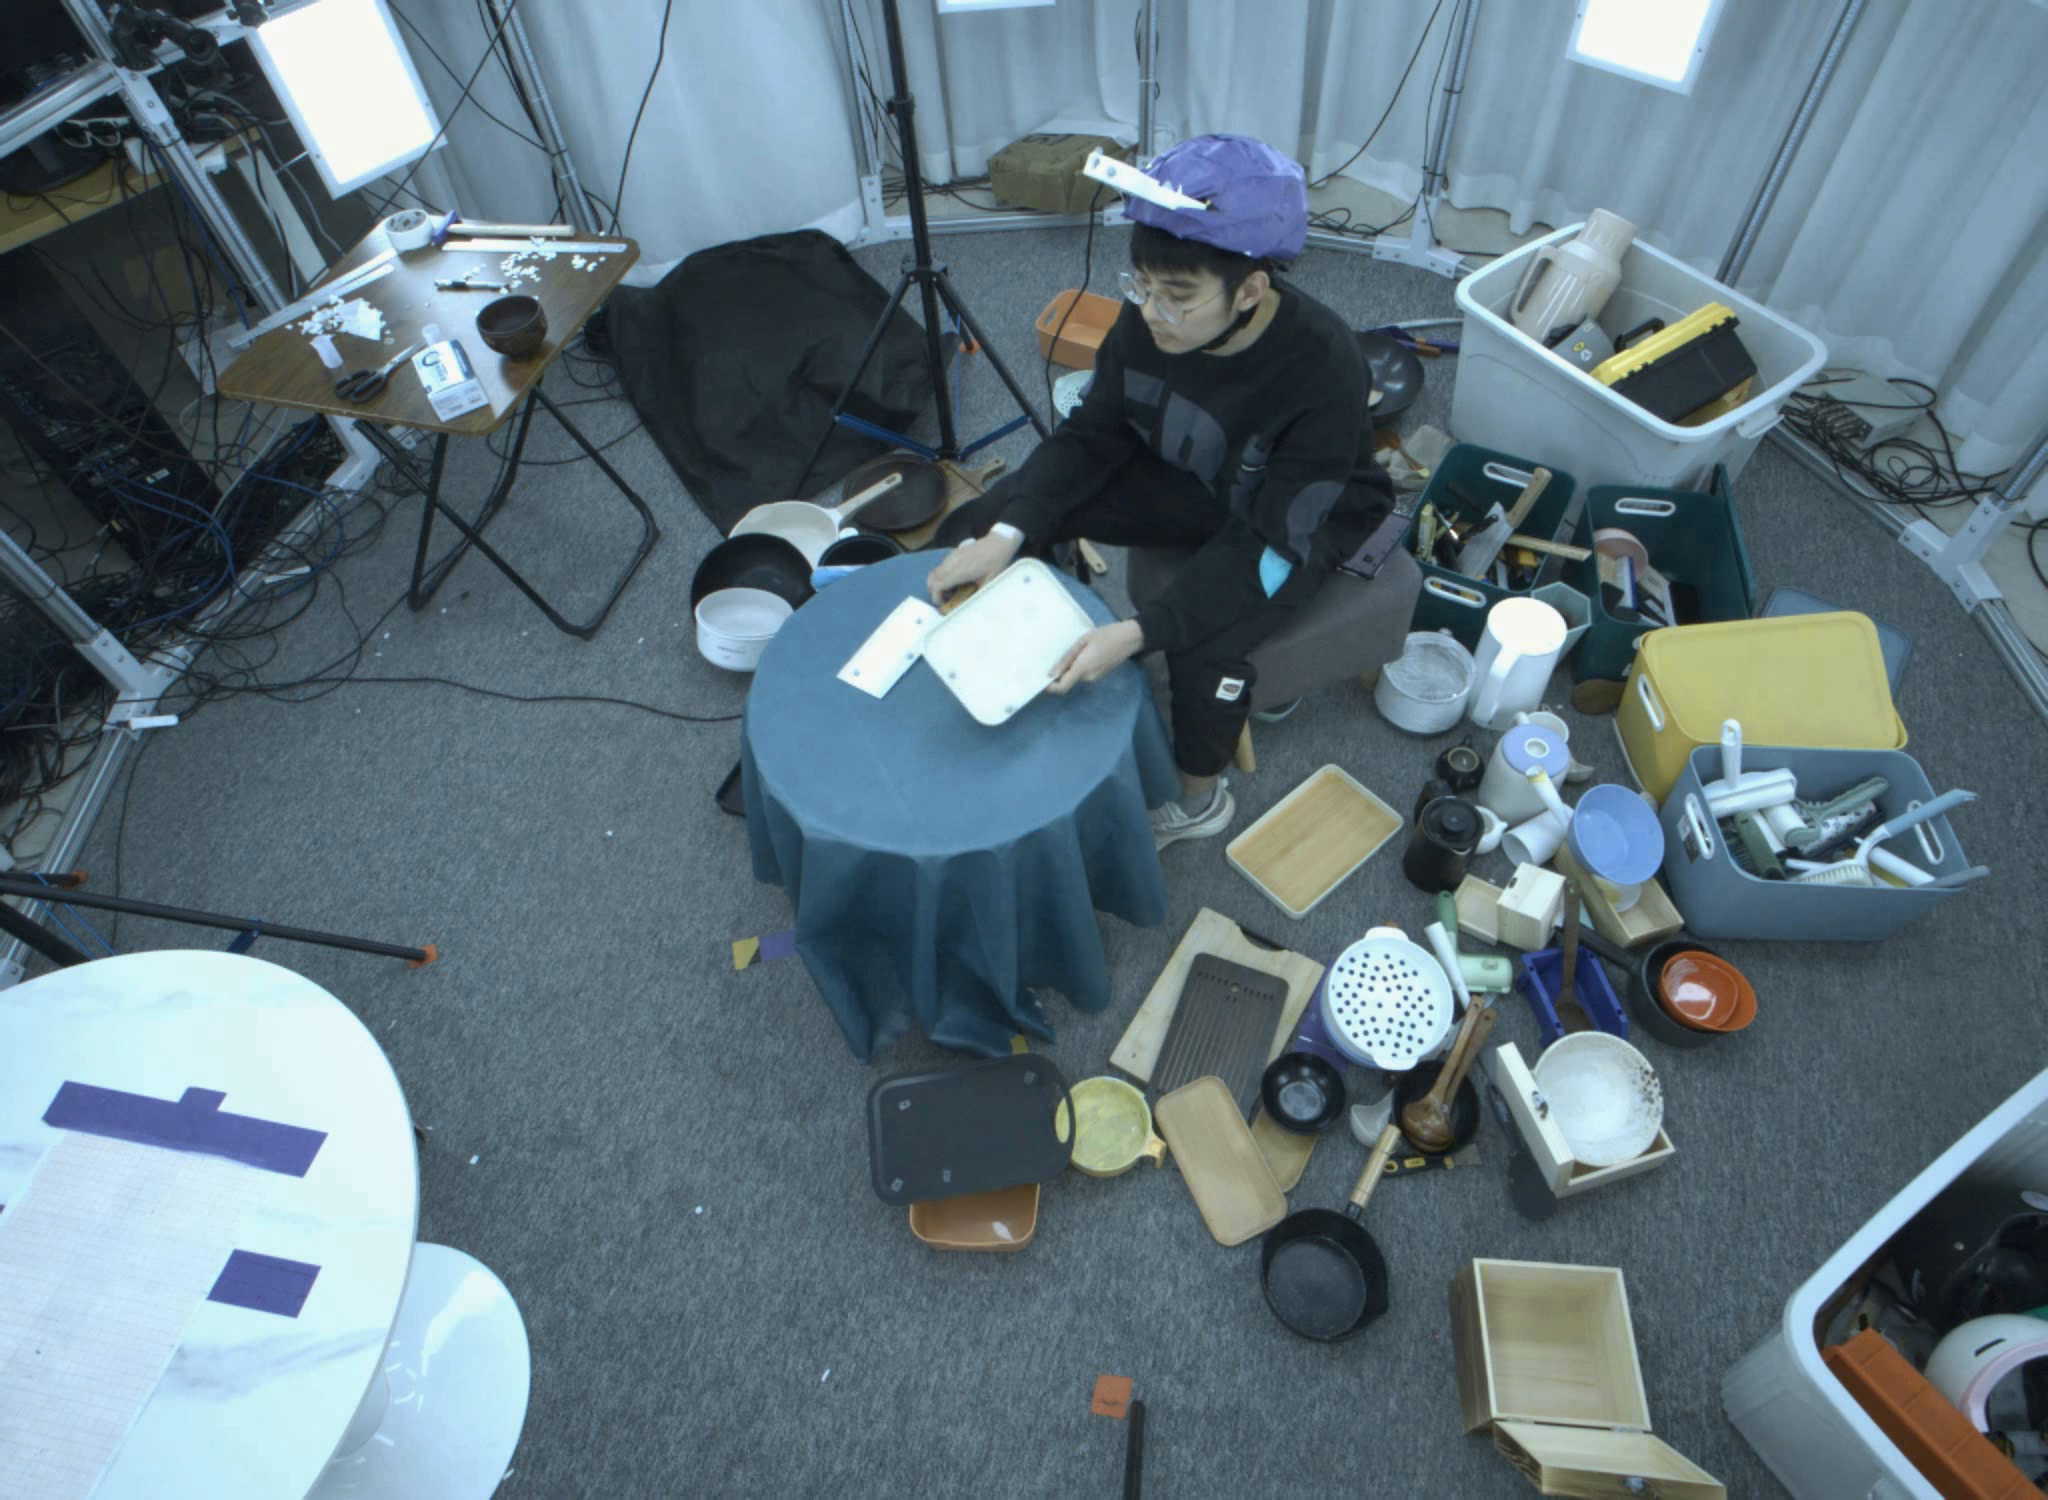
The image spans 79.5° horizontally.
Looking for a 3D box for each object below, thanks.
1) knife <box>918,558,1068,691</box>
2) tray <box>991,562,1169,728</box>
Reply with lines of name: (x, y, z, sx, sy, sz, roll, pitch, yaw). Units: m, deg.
knife: (-0.052, -0.210, 1.928, 0.091, 0.021, 0.307, 31, 64, 23)
tray: (0.082, -0.153, 1.775, 0.241, 0.017, 0.171, -37, 89, -19)
